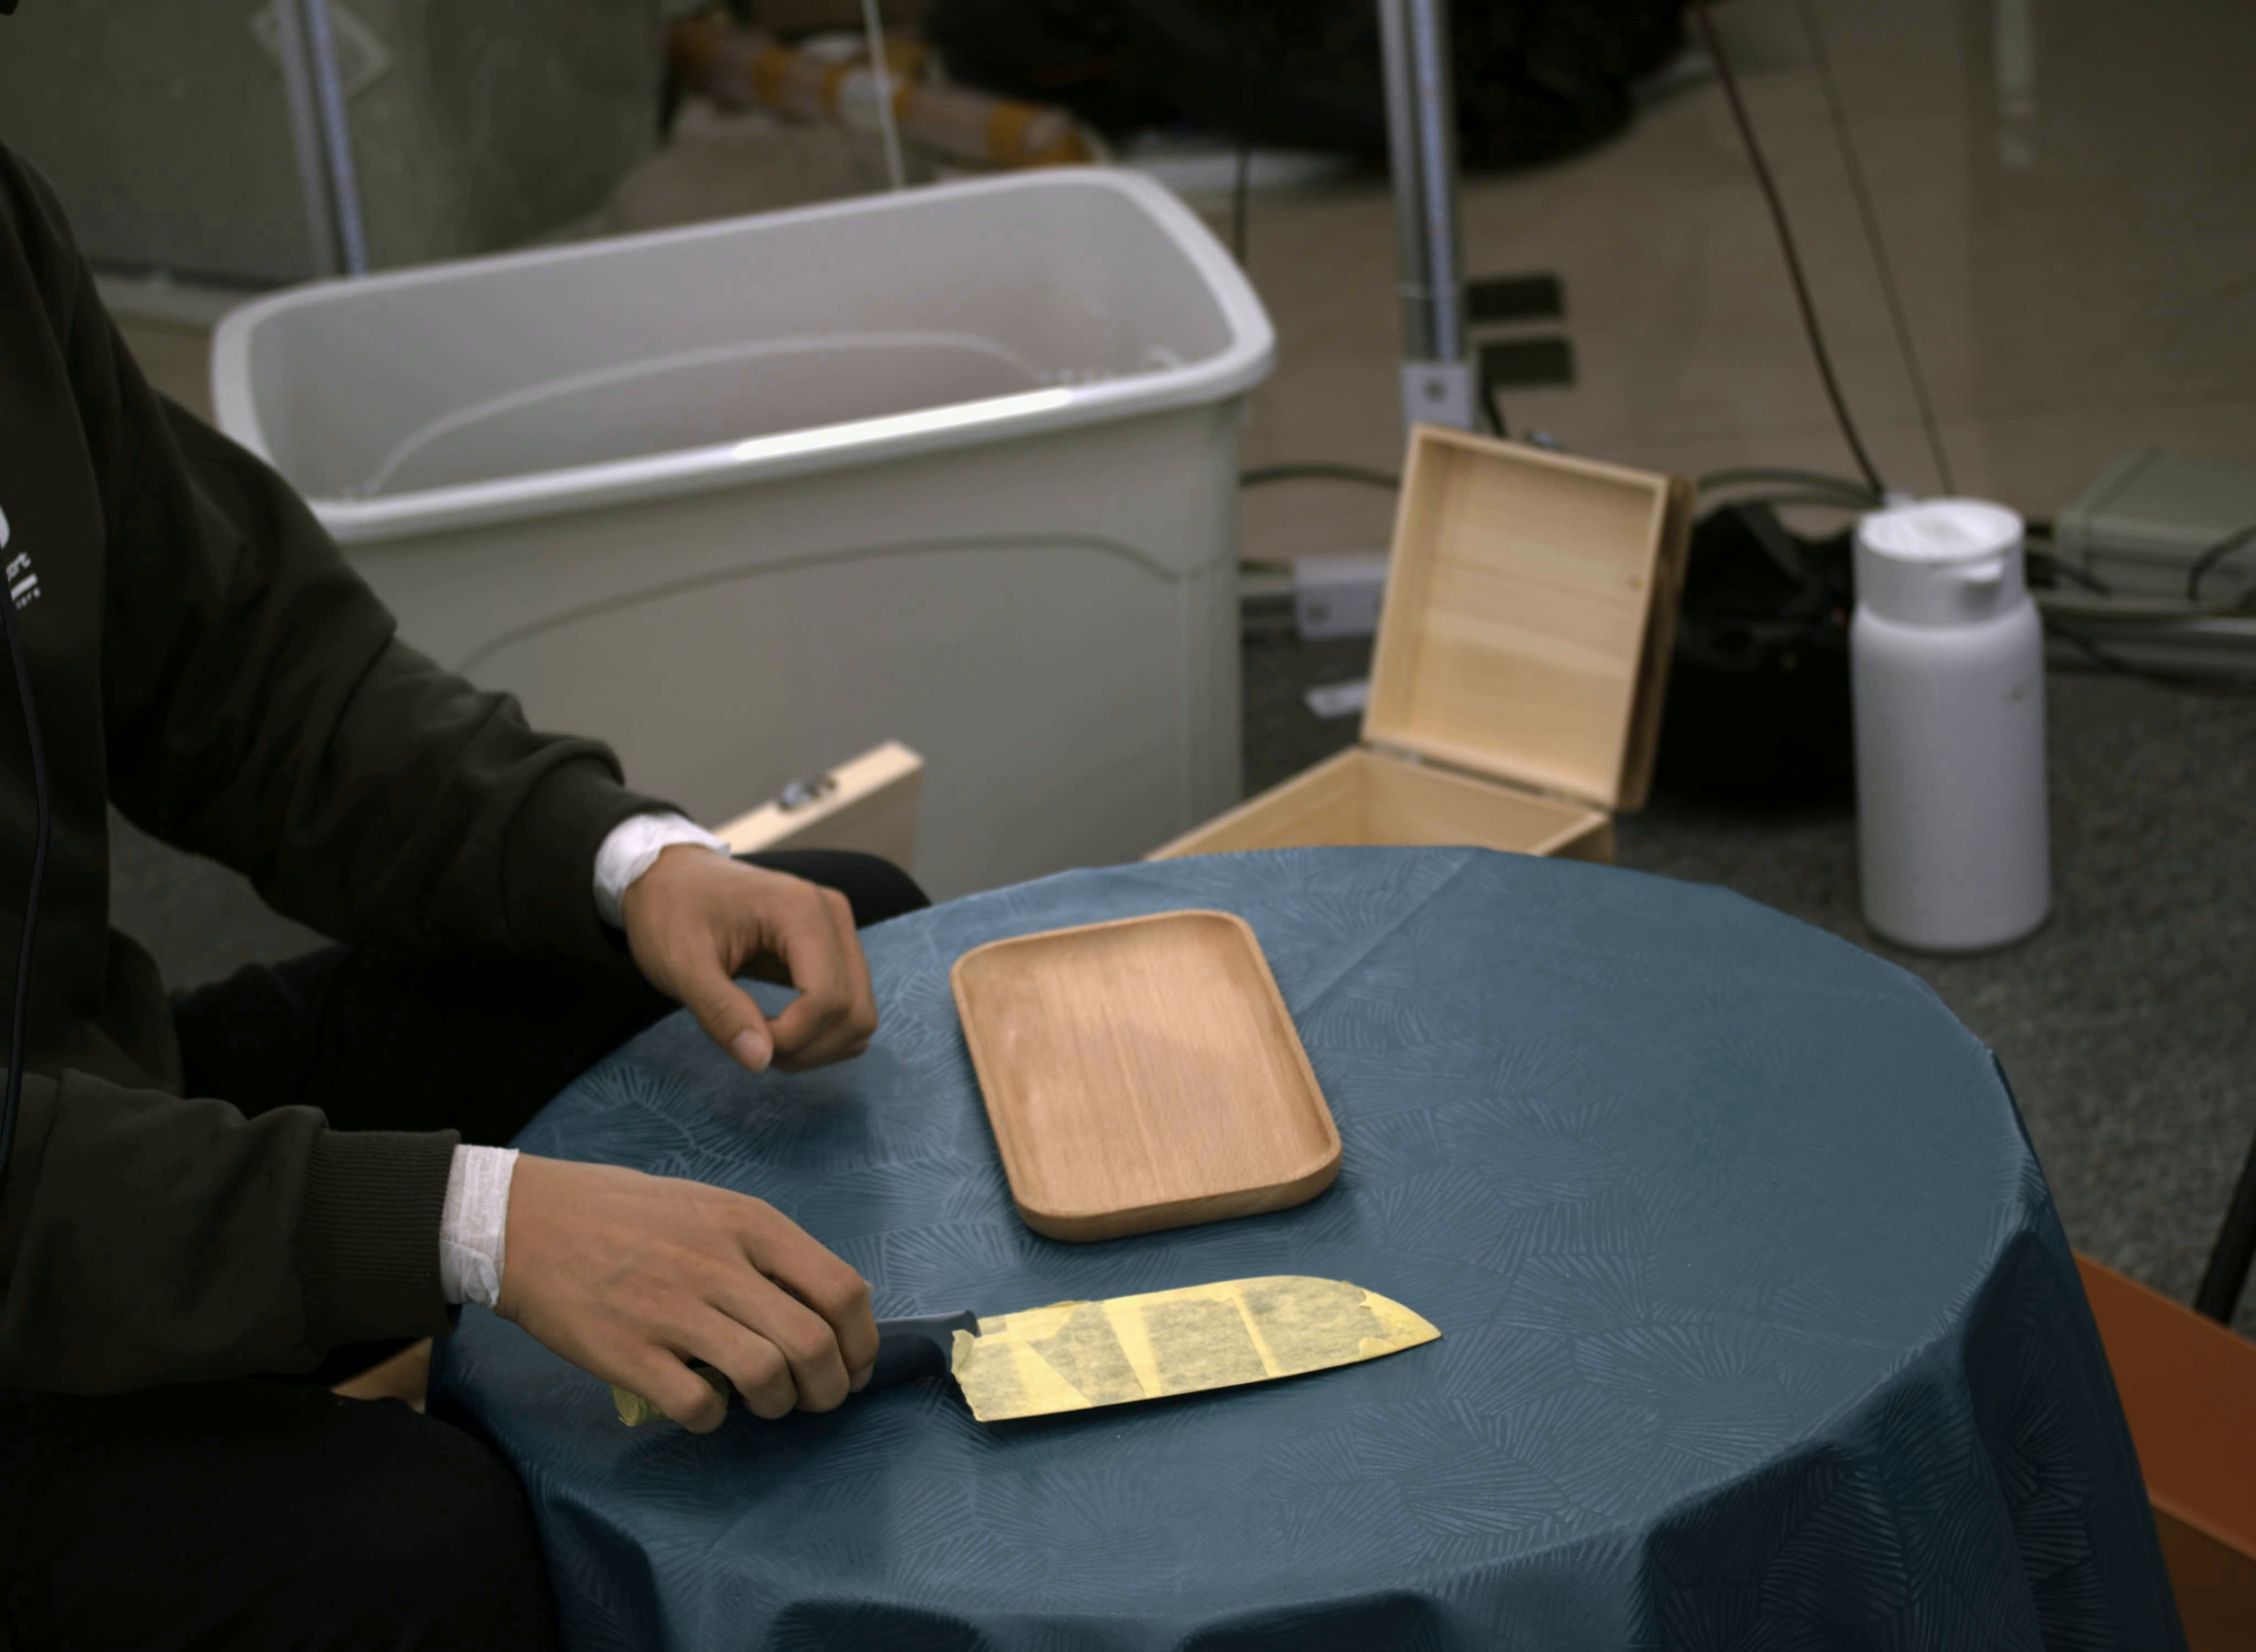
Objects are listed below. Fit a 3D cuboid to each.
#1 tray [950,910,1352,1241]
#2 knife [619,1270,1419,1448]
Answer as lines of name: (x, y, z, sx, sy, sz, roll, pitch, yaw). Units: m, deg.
tray: (0.007, 0.096, 2.224, 0.130, 0.023, 0.247, -12, 26, -4)
knife: (-0.037, 0.193, 2.027, 0.289, 0.027, 0.080, -8, 23, -6)
